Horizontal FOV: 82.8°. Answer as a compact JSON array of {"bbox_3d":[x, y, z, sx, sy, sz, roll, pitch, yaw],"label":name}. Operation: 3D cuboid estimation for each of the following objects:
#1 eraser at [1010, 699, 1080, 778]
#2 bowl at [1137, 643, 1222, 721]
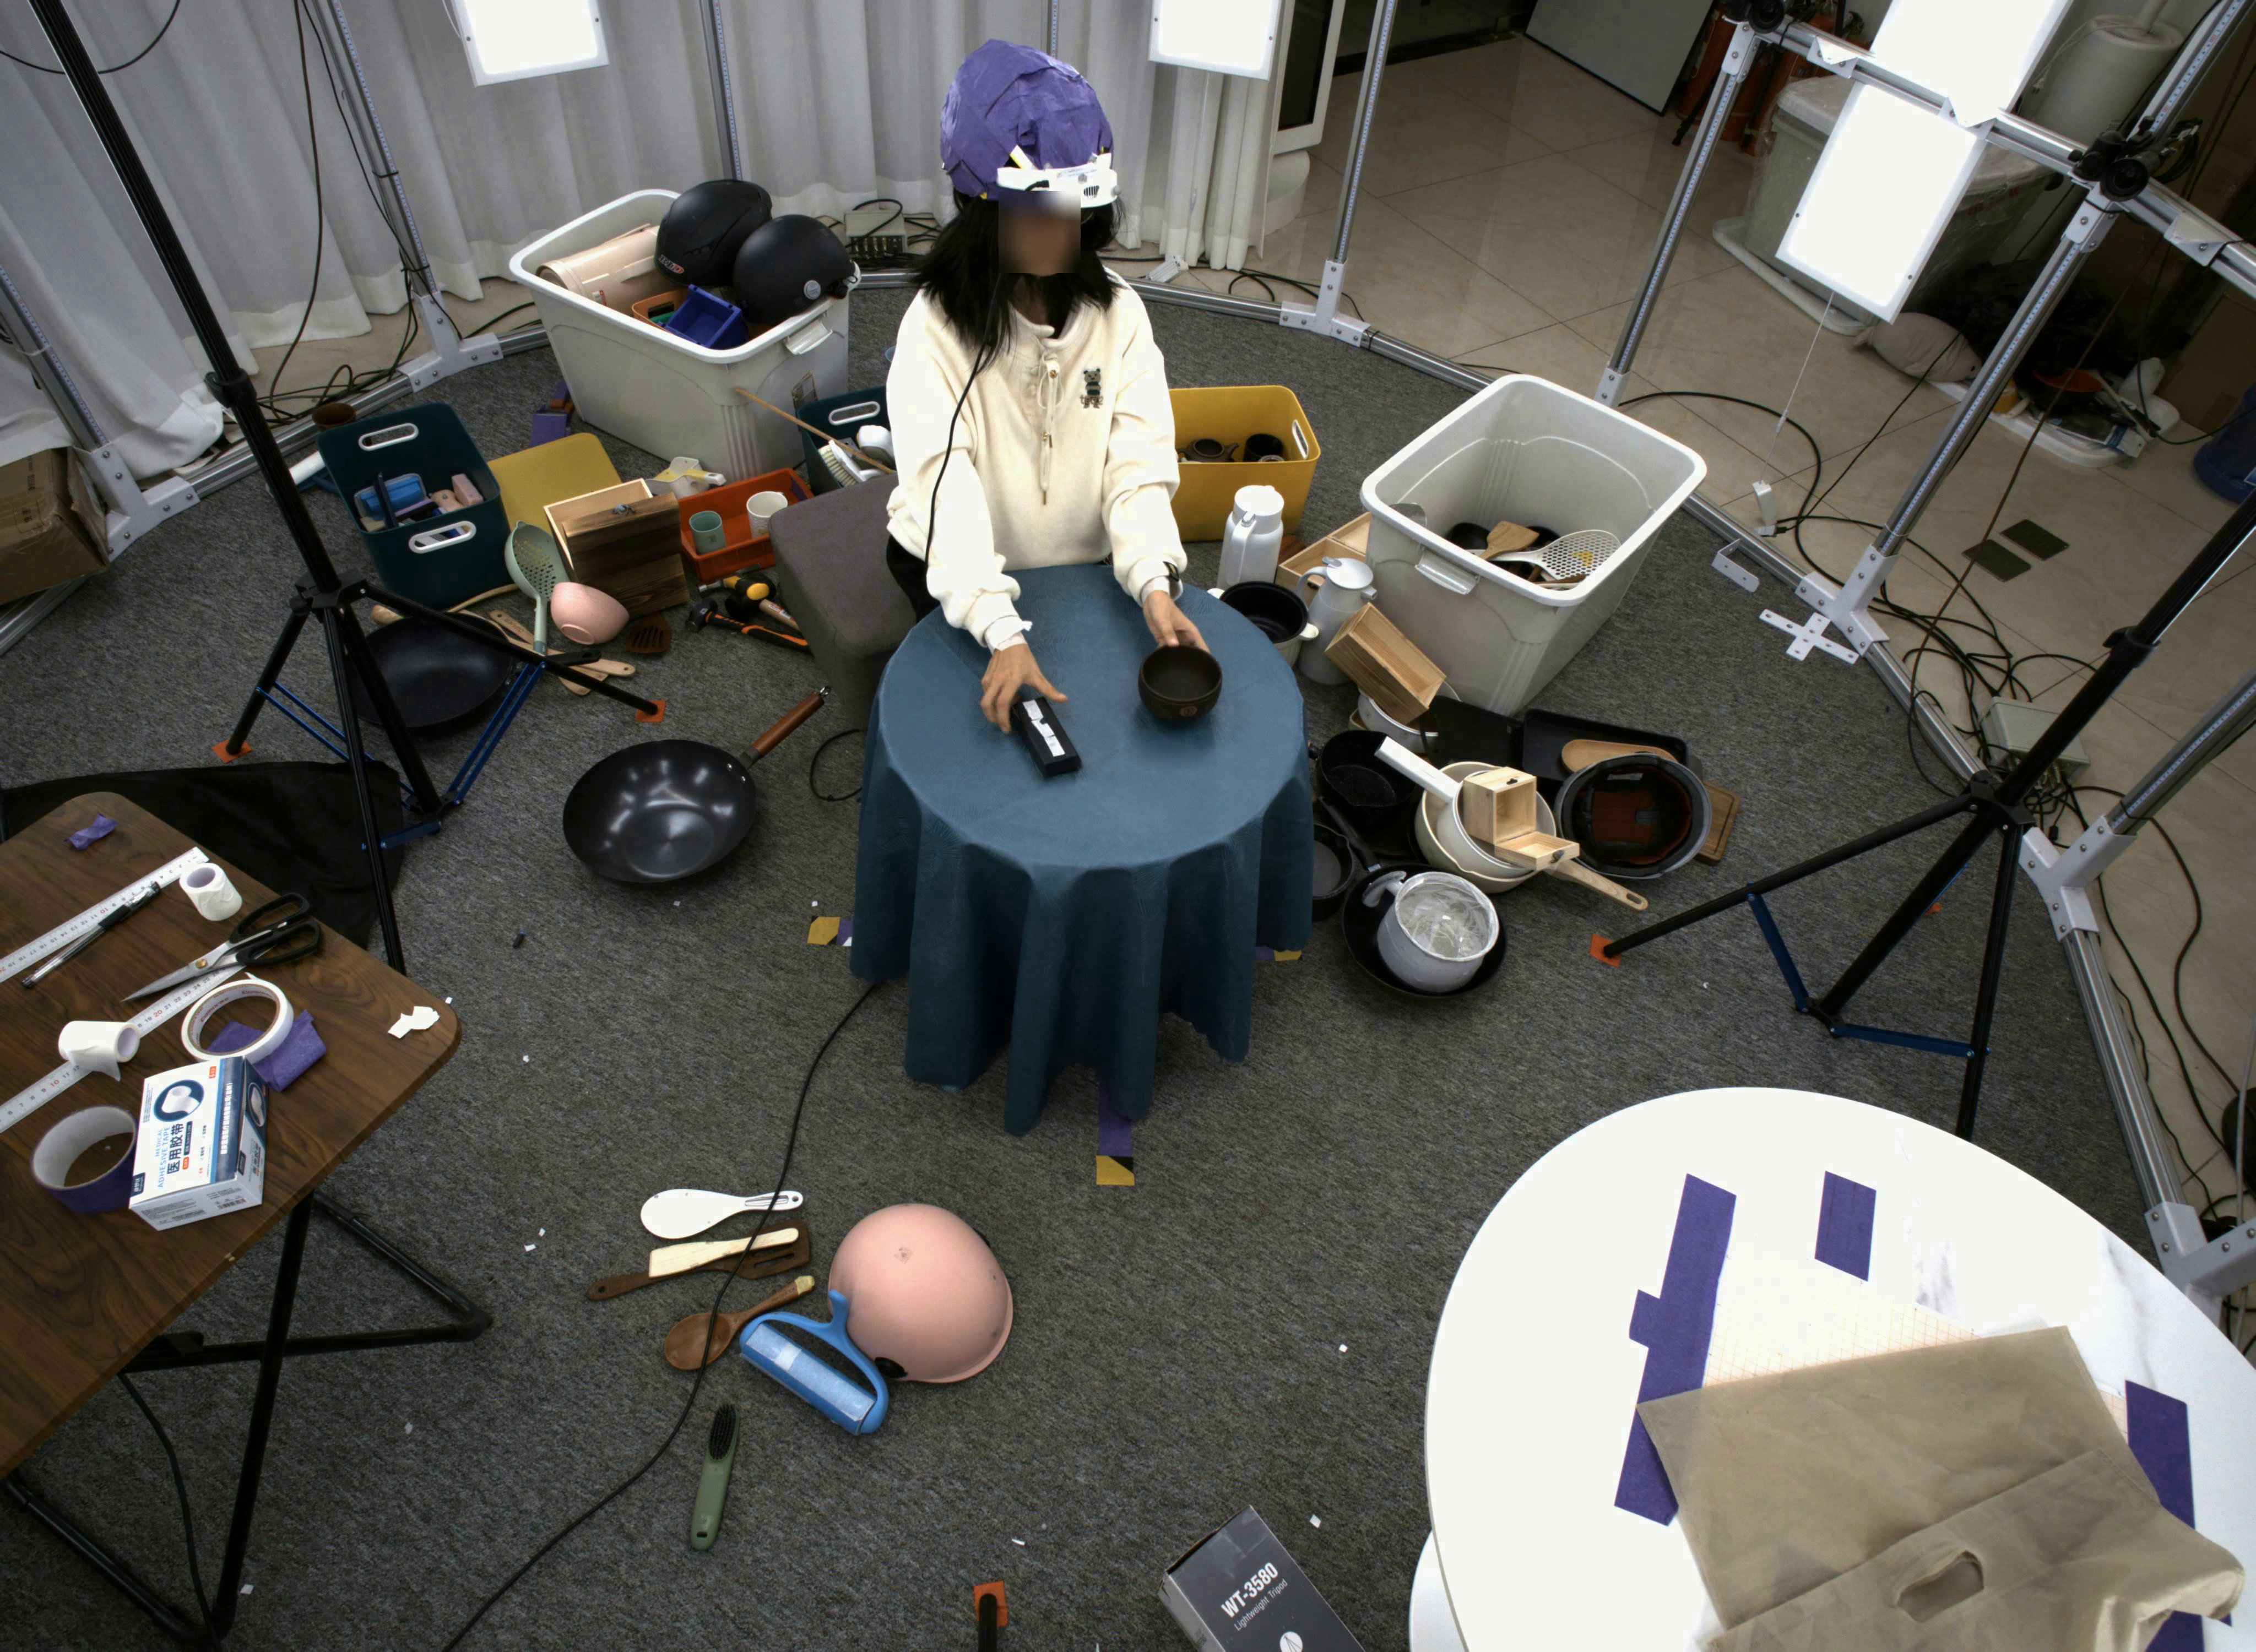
[{"bbox_3d":[-0.114,-0.120,1.749,0.053,0.030,0.128,-17,50,-19],"label":"eraser"},{"bbox_3d":[0.071,-0.193,1.796,0.118,0.068,0.121,1,49,-2],"label":"bowl"}]
